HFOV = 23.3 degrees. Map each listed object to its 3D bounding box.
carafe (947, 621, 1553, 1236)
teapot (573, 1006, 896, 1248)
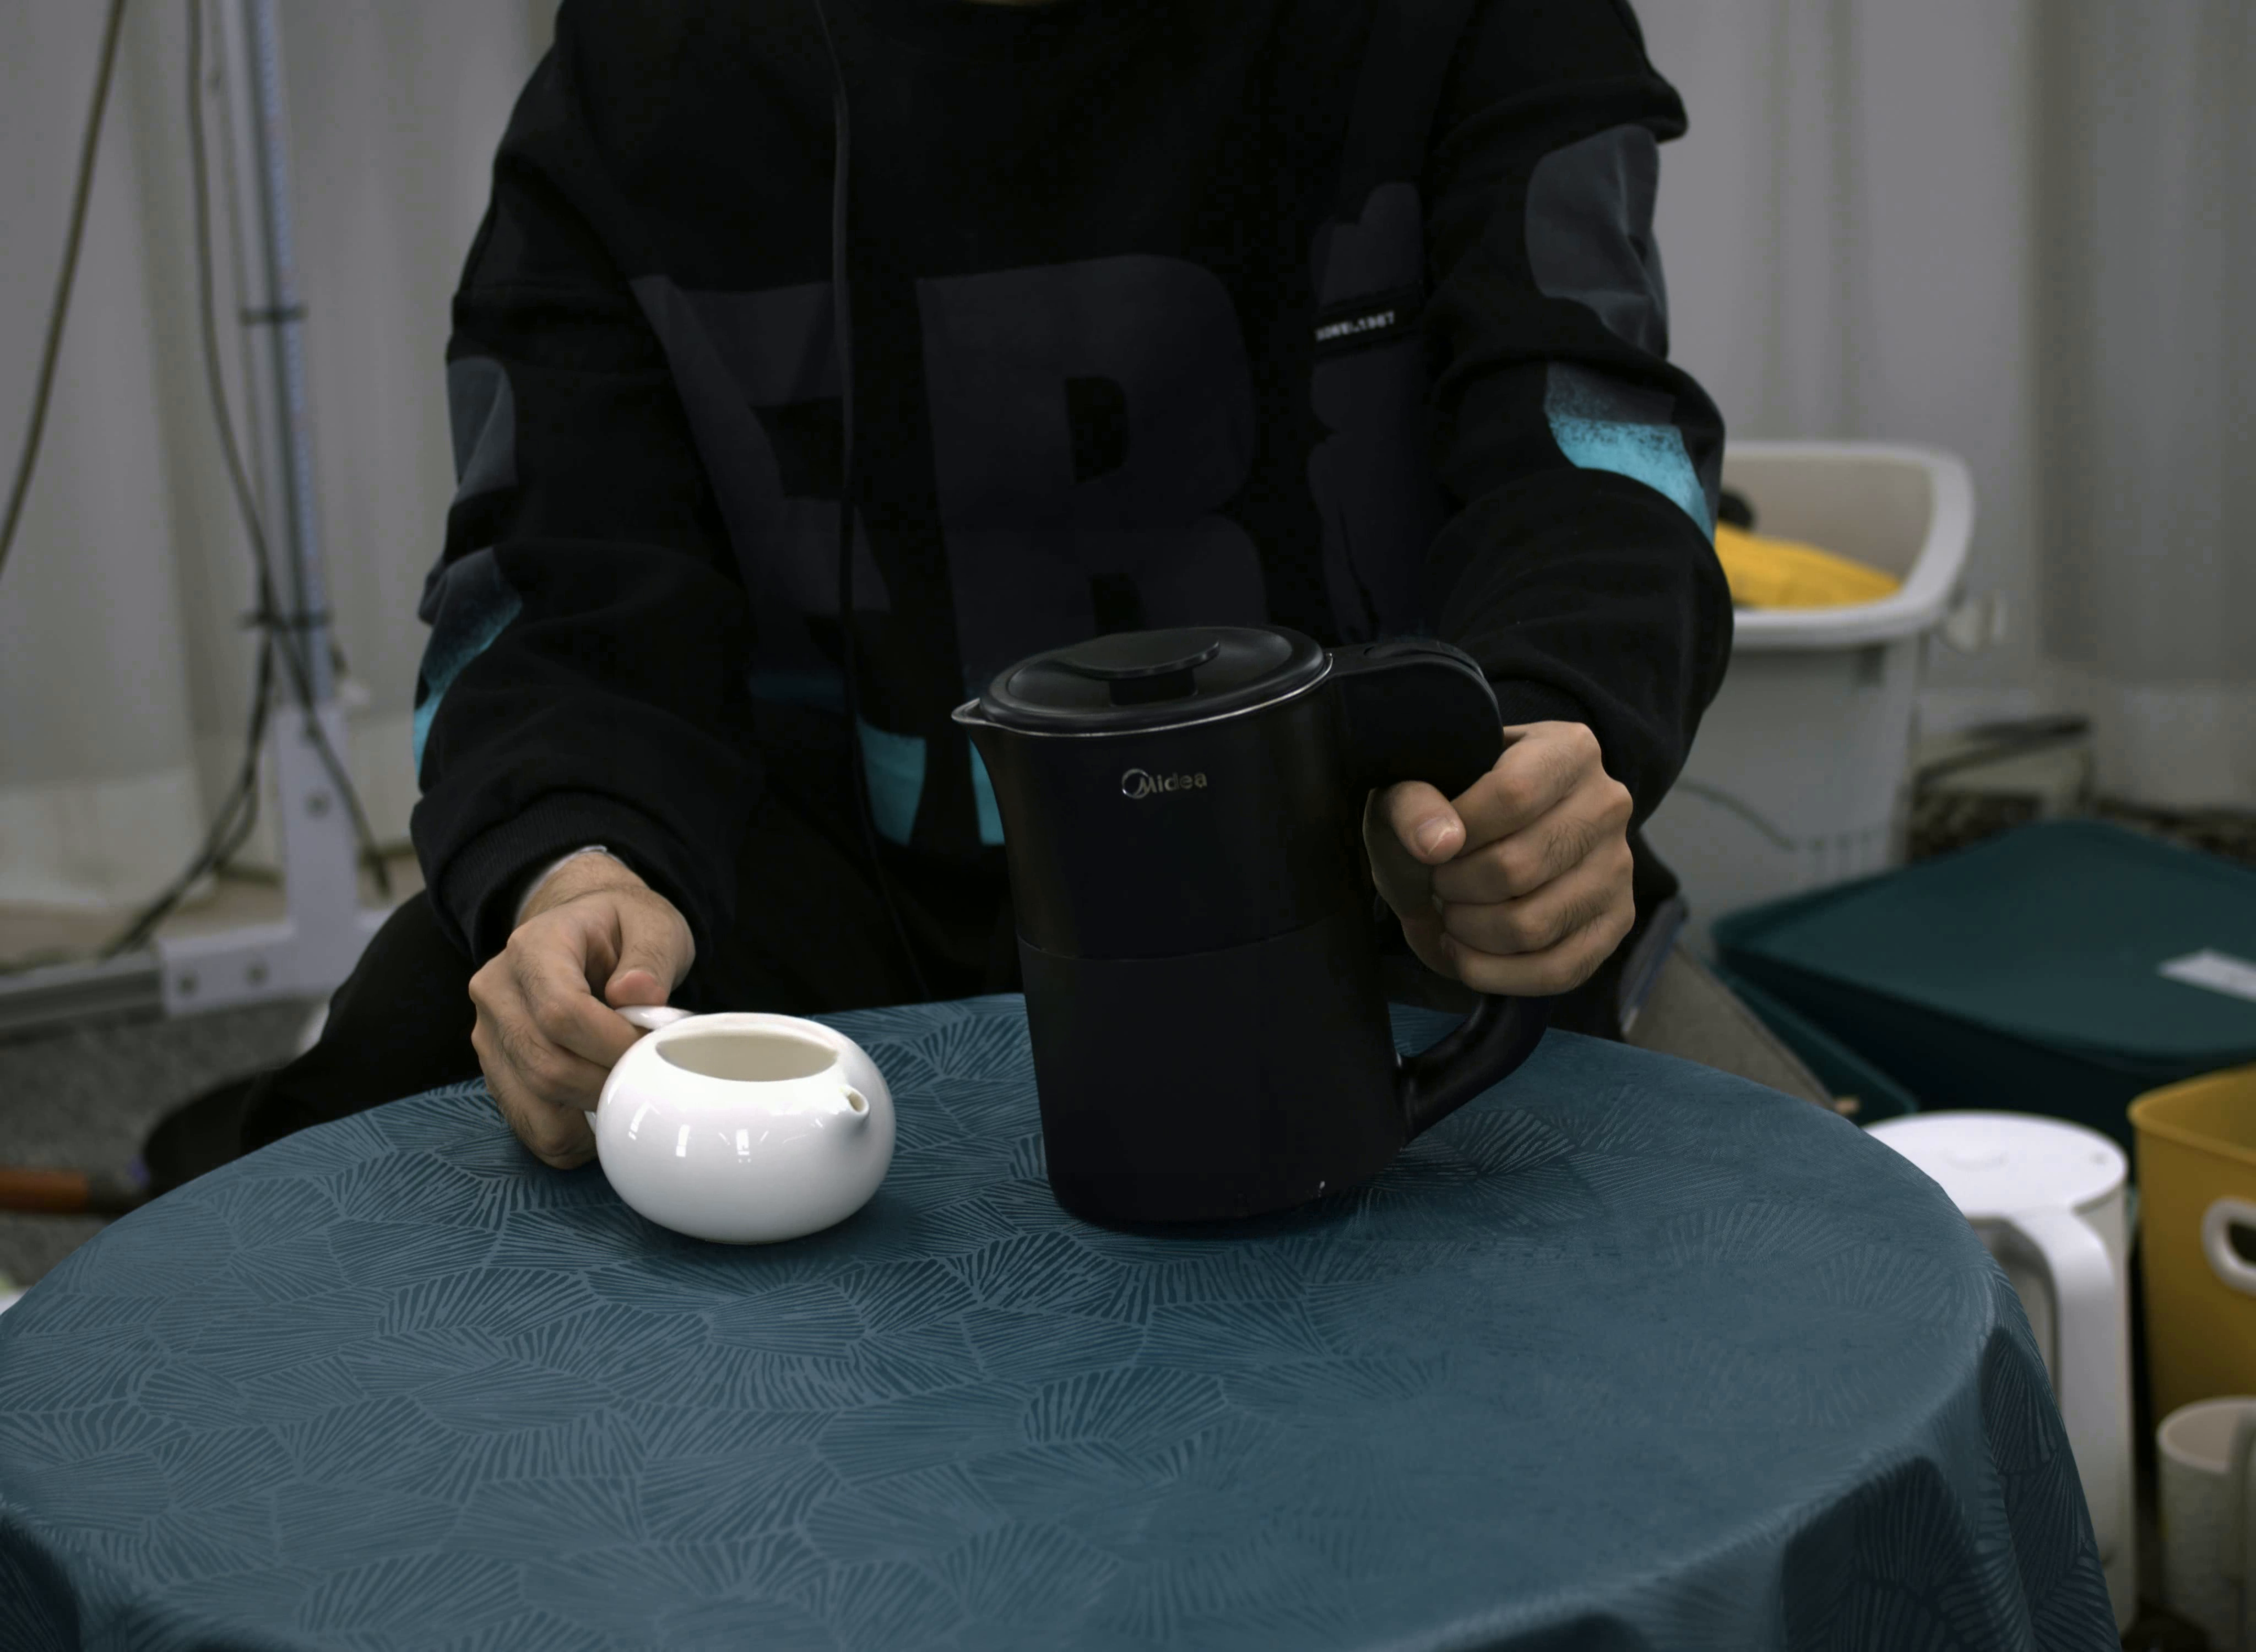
[{"bbox_3d":[0.041,0.021,1.693,0.171,0.173,0.115,-11,13,-2],"label":"carafe"},{"bbox_3d":[-0.127,0.092,1.703,0.128,0.056,0.093,15,26,34],"label":"teapot"}]
